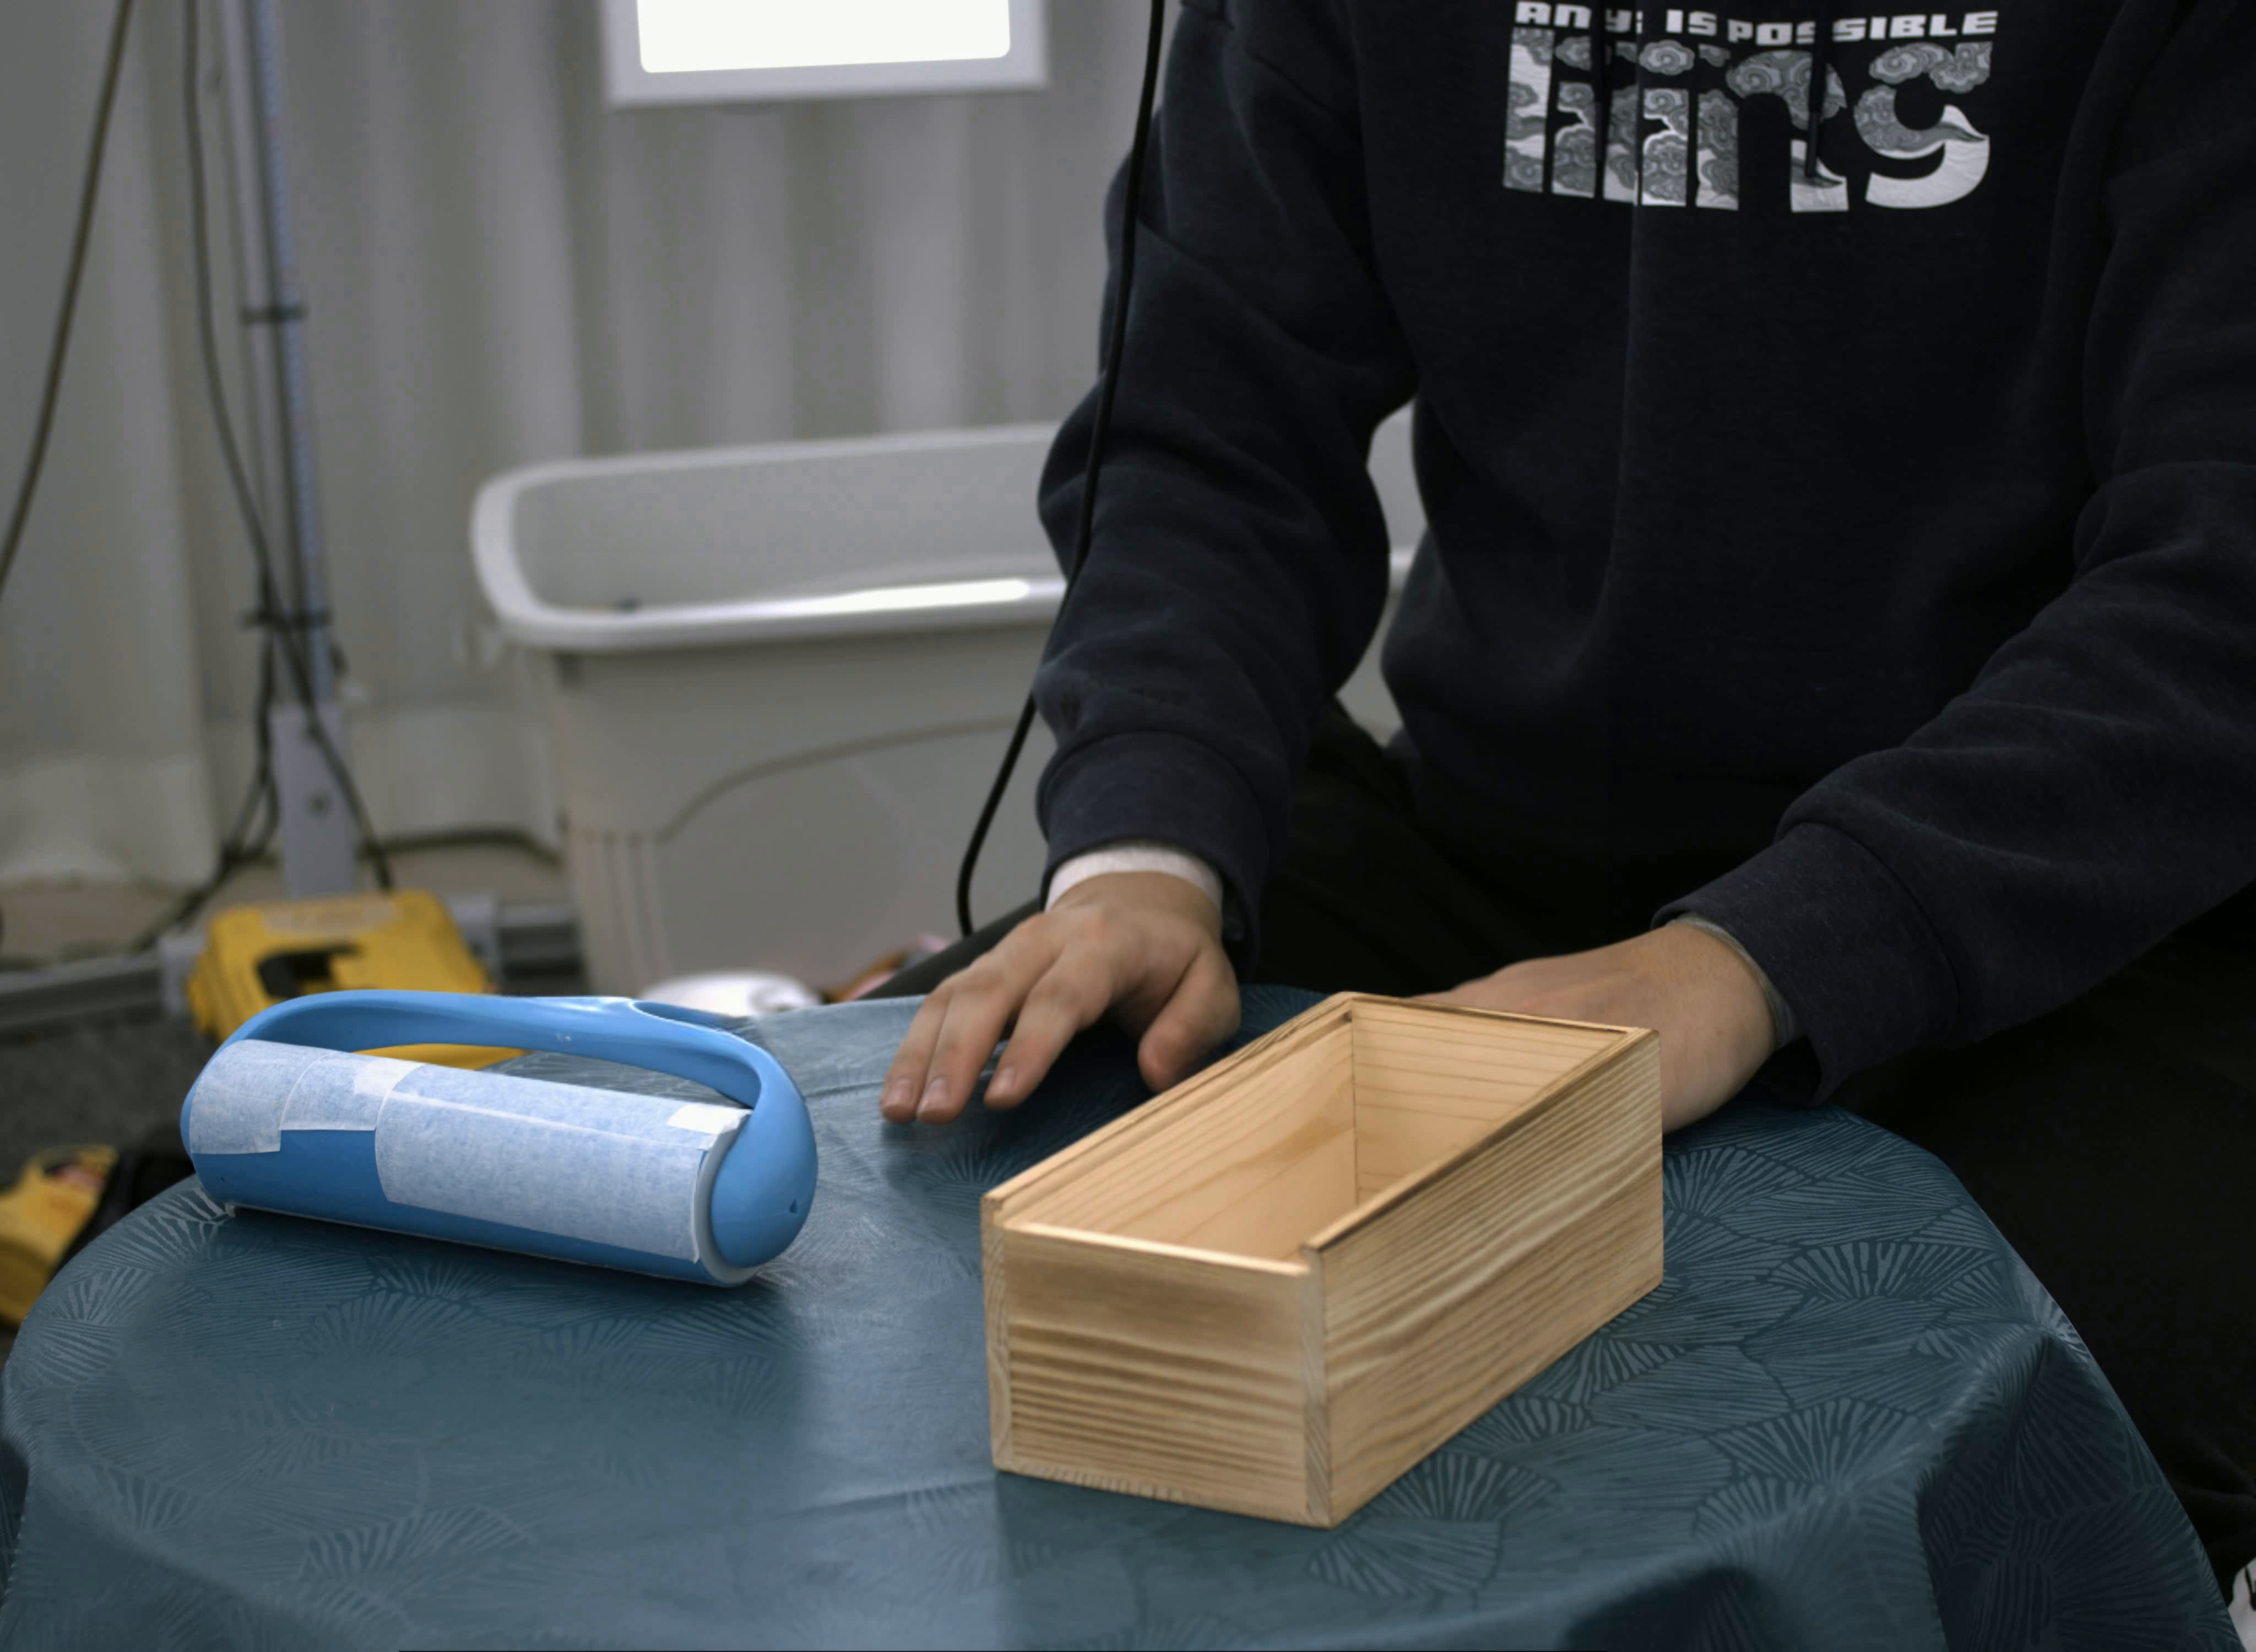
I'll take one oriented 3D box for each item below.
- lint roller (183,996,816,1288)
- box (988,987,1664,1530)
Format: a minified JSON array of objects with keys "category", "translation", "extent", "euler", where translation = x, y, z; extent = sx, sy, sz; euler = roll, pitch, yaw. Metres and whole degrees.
[{"category":"lint roller","translation":[-0.170,0.086,1.737],"extent":[0.229,0.067,0.180],"euler":[4,17,29]},{"category":"box","translation":[0.060,0.117,1.543],"extent":[0.108,0.080,0.211],"euler":[6,17,29]}]
